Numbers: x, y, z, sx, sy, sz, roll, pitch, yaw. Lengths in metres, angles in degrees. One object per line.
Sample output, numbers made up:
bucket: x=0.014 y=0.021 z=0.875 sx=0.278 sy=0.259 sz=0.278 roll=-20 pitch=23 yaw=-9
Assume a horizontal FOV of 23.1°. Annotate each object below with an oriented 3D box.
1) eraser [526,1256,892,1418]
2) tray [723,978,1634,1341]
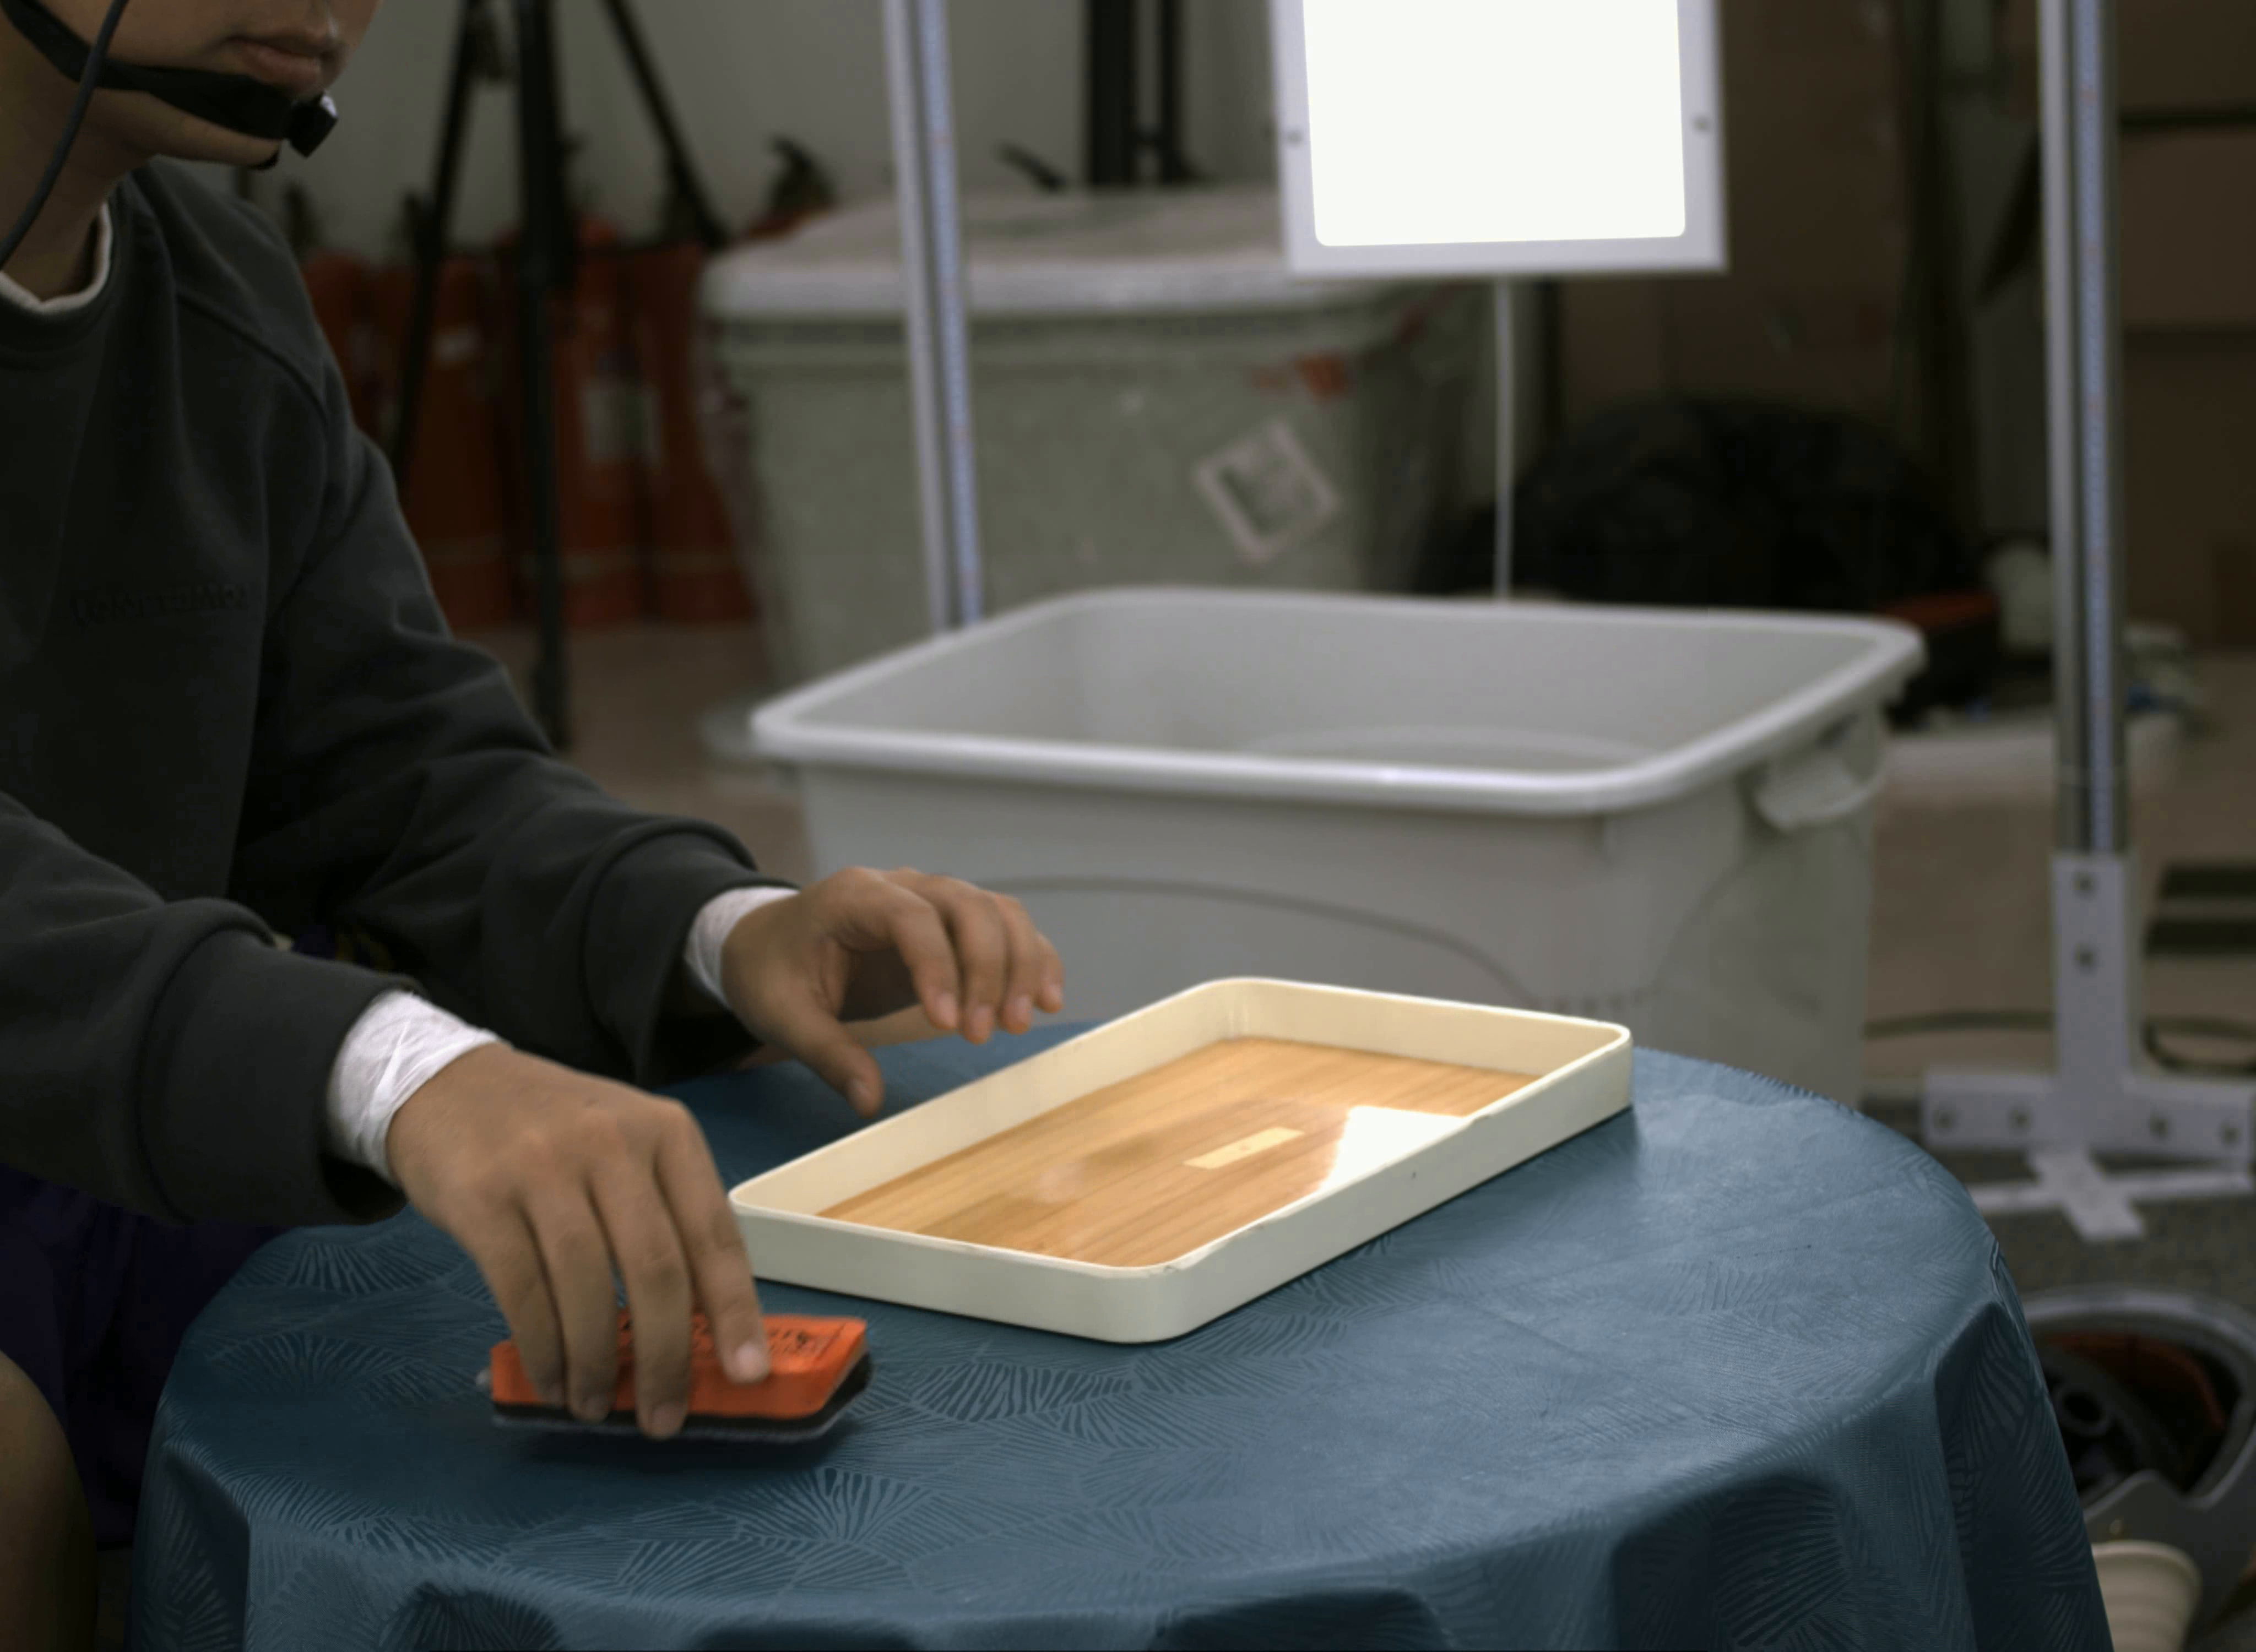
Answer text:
eraser: x=-0.129 y=0.157 z=1.699 sx=0.110 sy=0.023 sz=0.057 roll=7 pitch=16 yaw=31
tray: x=0.022 y=0.111 z=1.897 sx=0.195 sy=0.027 sz=0.293 roll=6 pitch=18 yaw=39
